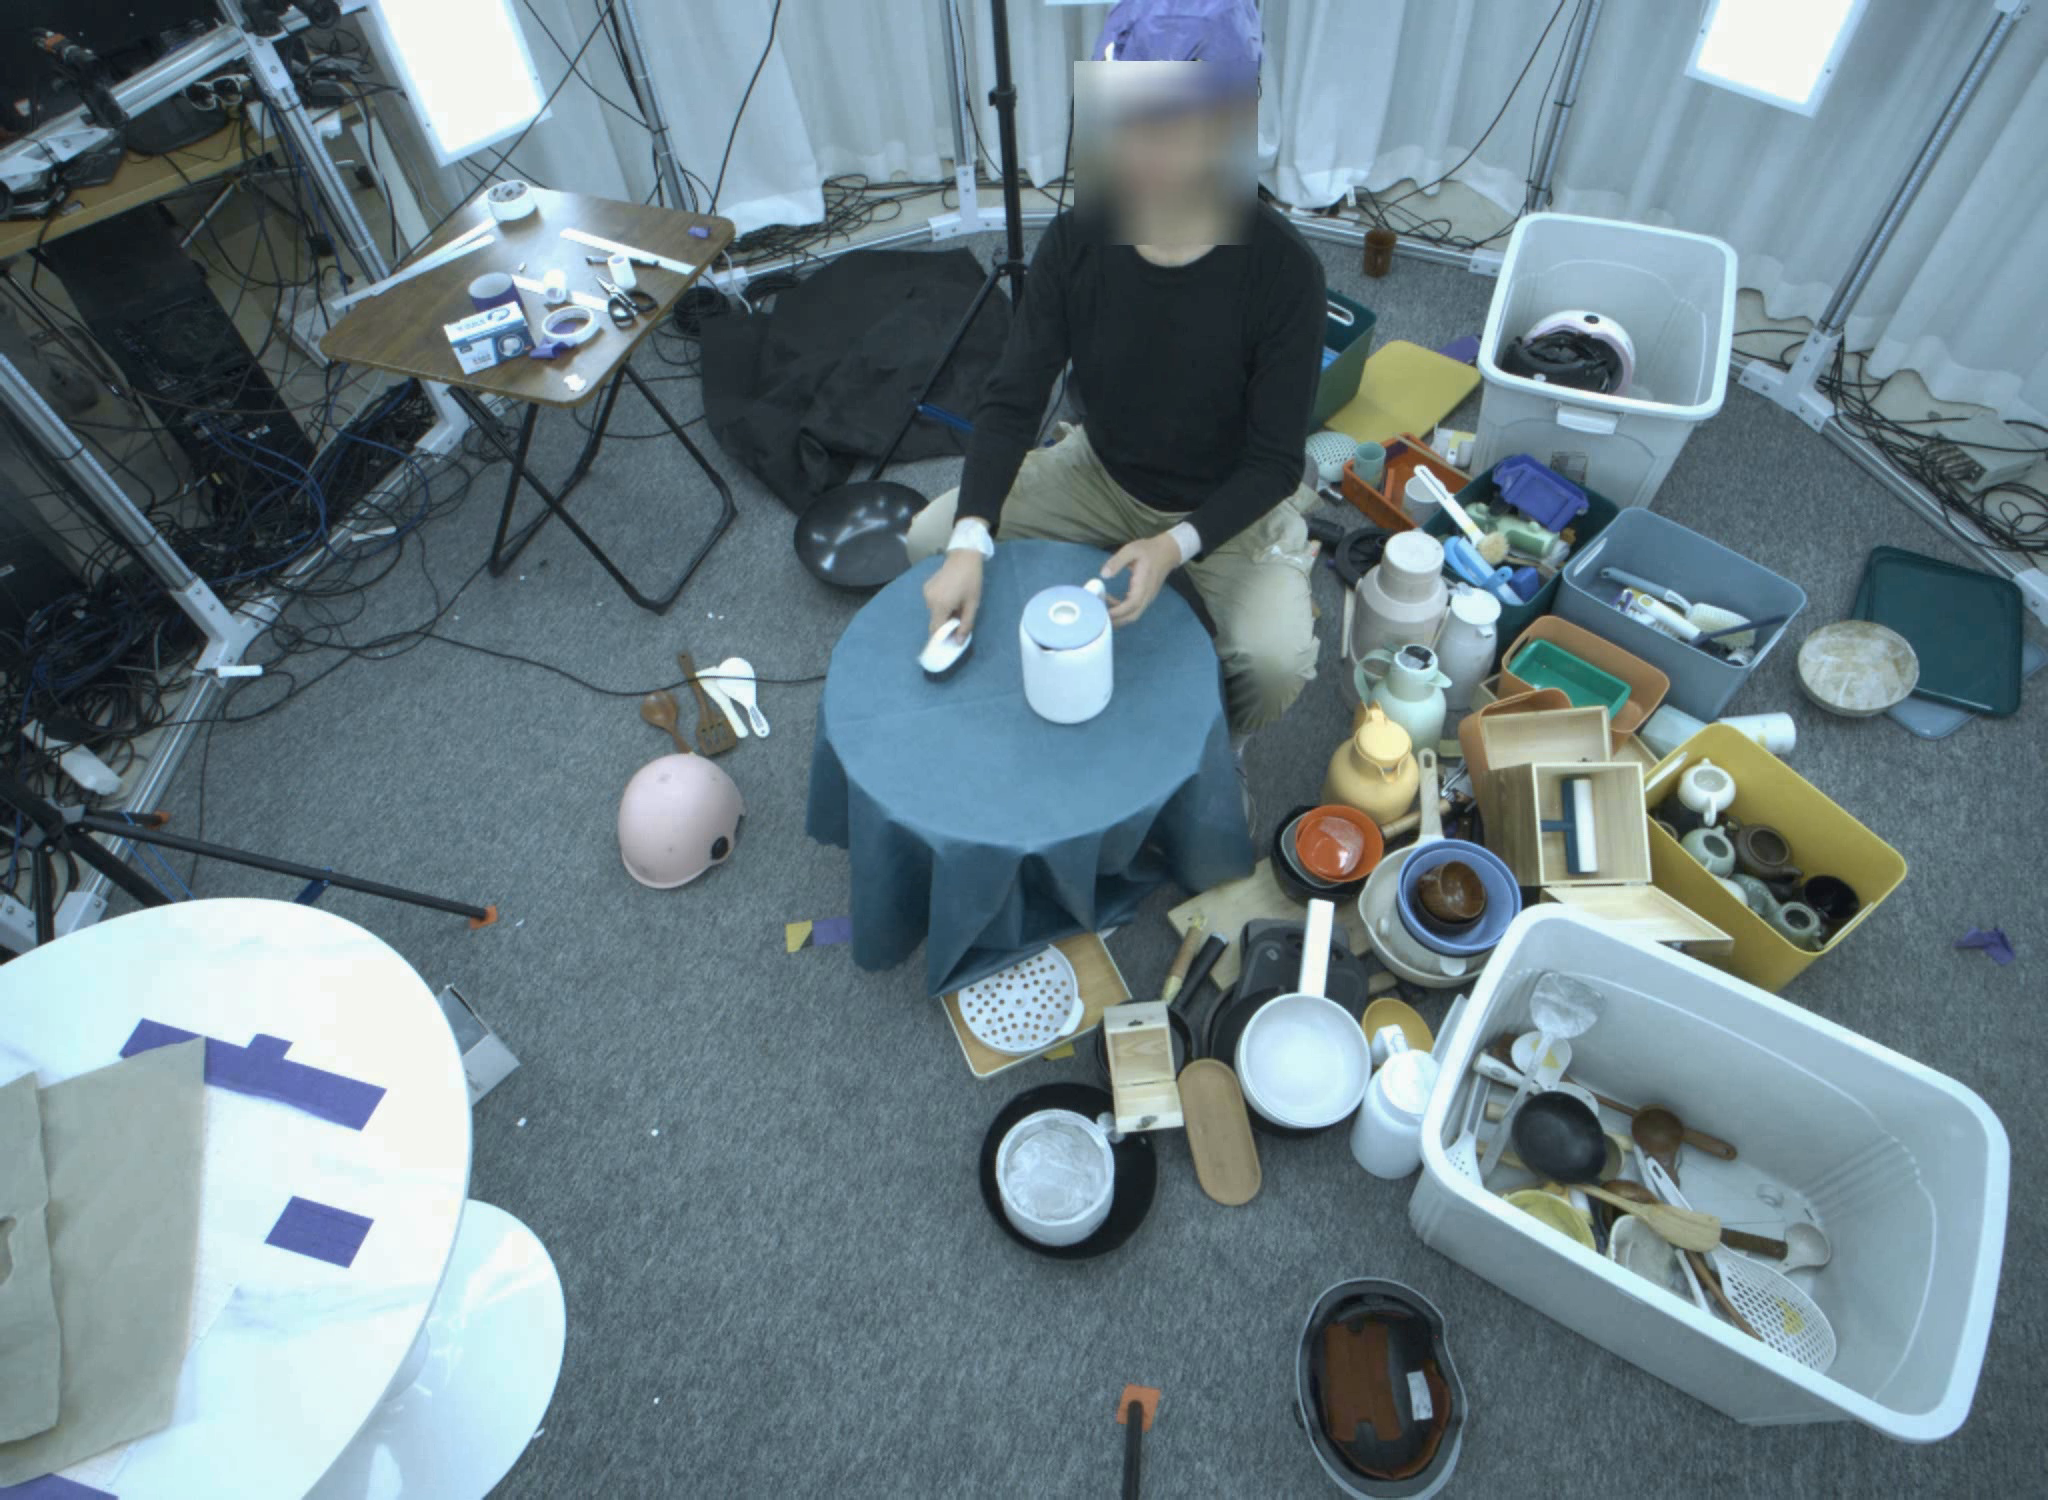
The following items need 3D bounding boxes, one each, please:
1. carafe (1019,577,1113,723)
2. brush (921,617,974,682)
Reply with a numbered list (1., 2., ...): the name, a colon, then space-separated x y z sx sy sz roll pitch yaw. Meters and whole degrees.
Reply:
1. carafe: 0.073 -0.156 1.790 0.130 0.184 0.191 20 57 17
2. brush: -0.118 -0.160 1.859 0.049 0.073 0.099 28 61 22
